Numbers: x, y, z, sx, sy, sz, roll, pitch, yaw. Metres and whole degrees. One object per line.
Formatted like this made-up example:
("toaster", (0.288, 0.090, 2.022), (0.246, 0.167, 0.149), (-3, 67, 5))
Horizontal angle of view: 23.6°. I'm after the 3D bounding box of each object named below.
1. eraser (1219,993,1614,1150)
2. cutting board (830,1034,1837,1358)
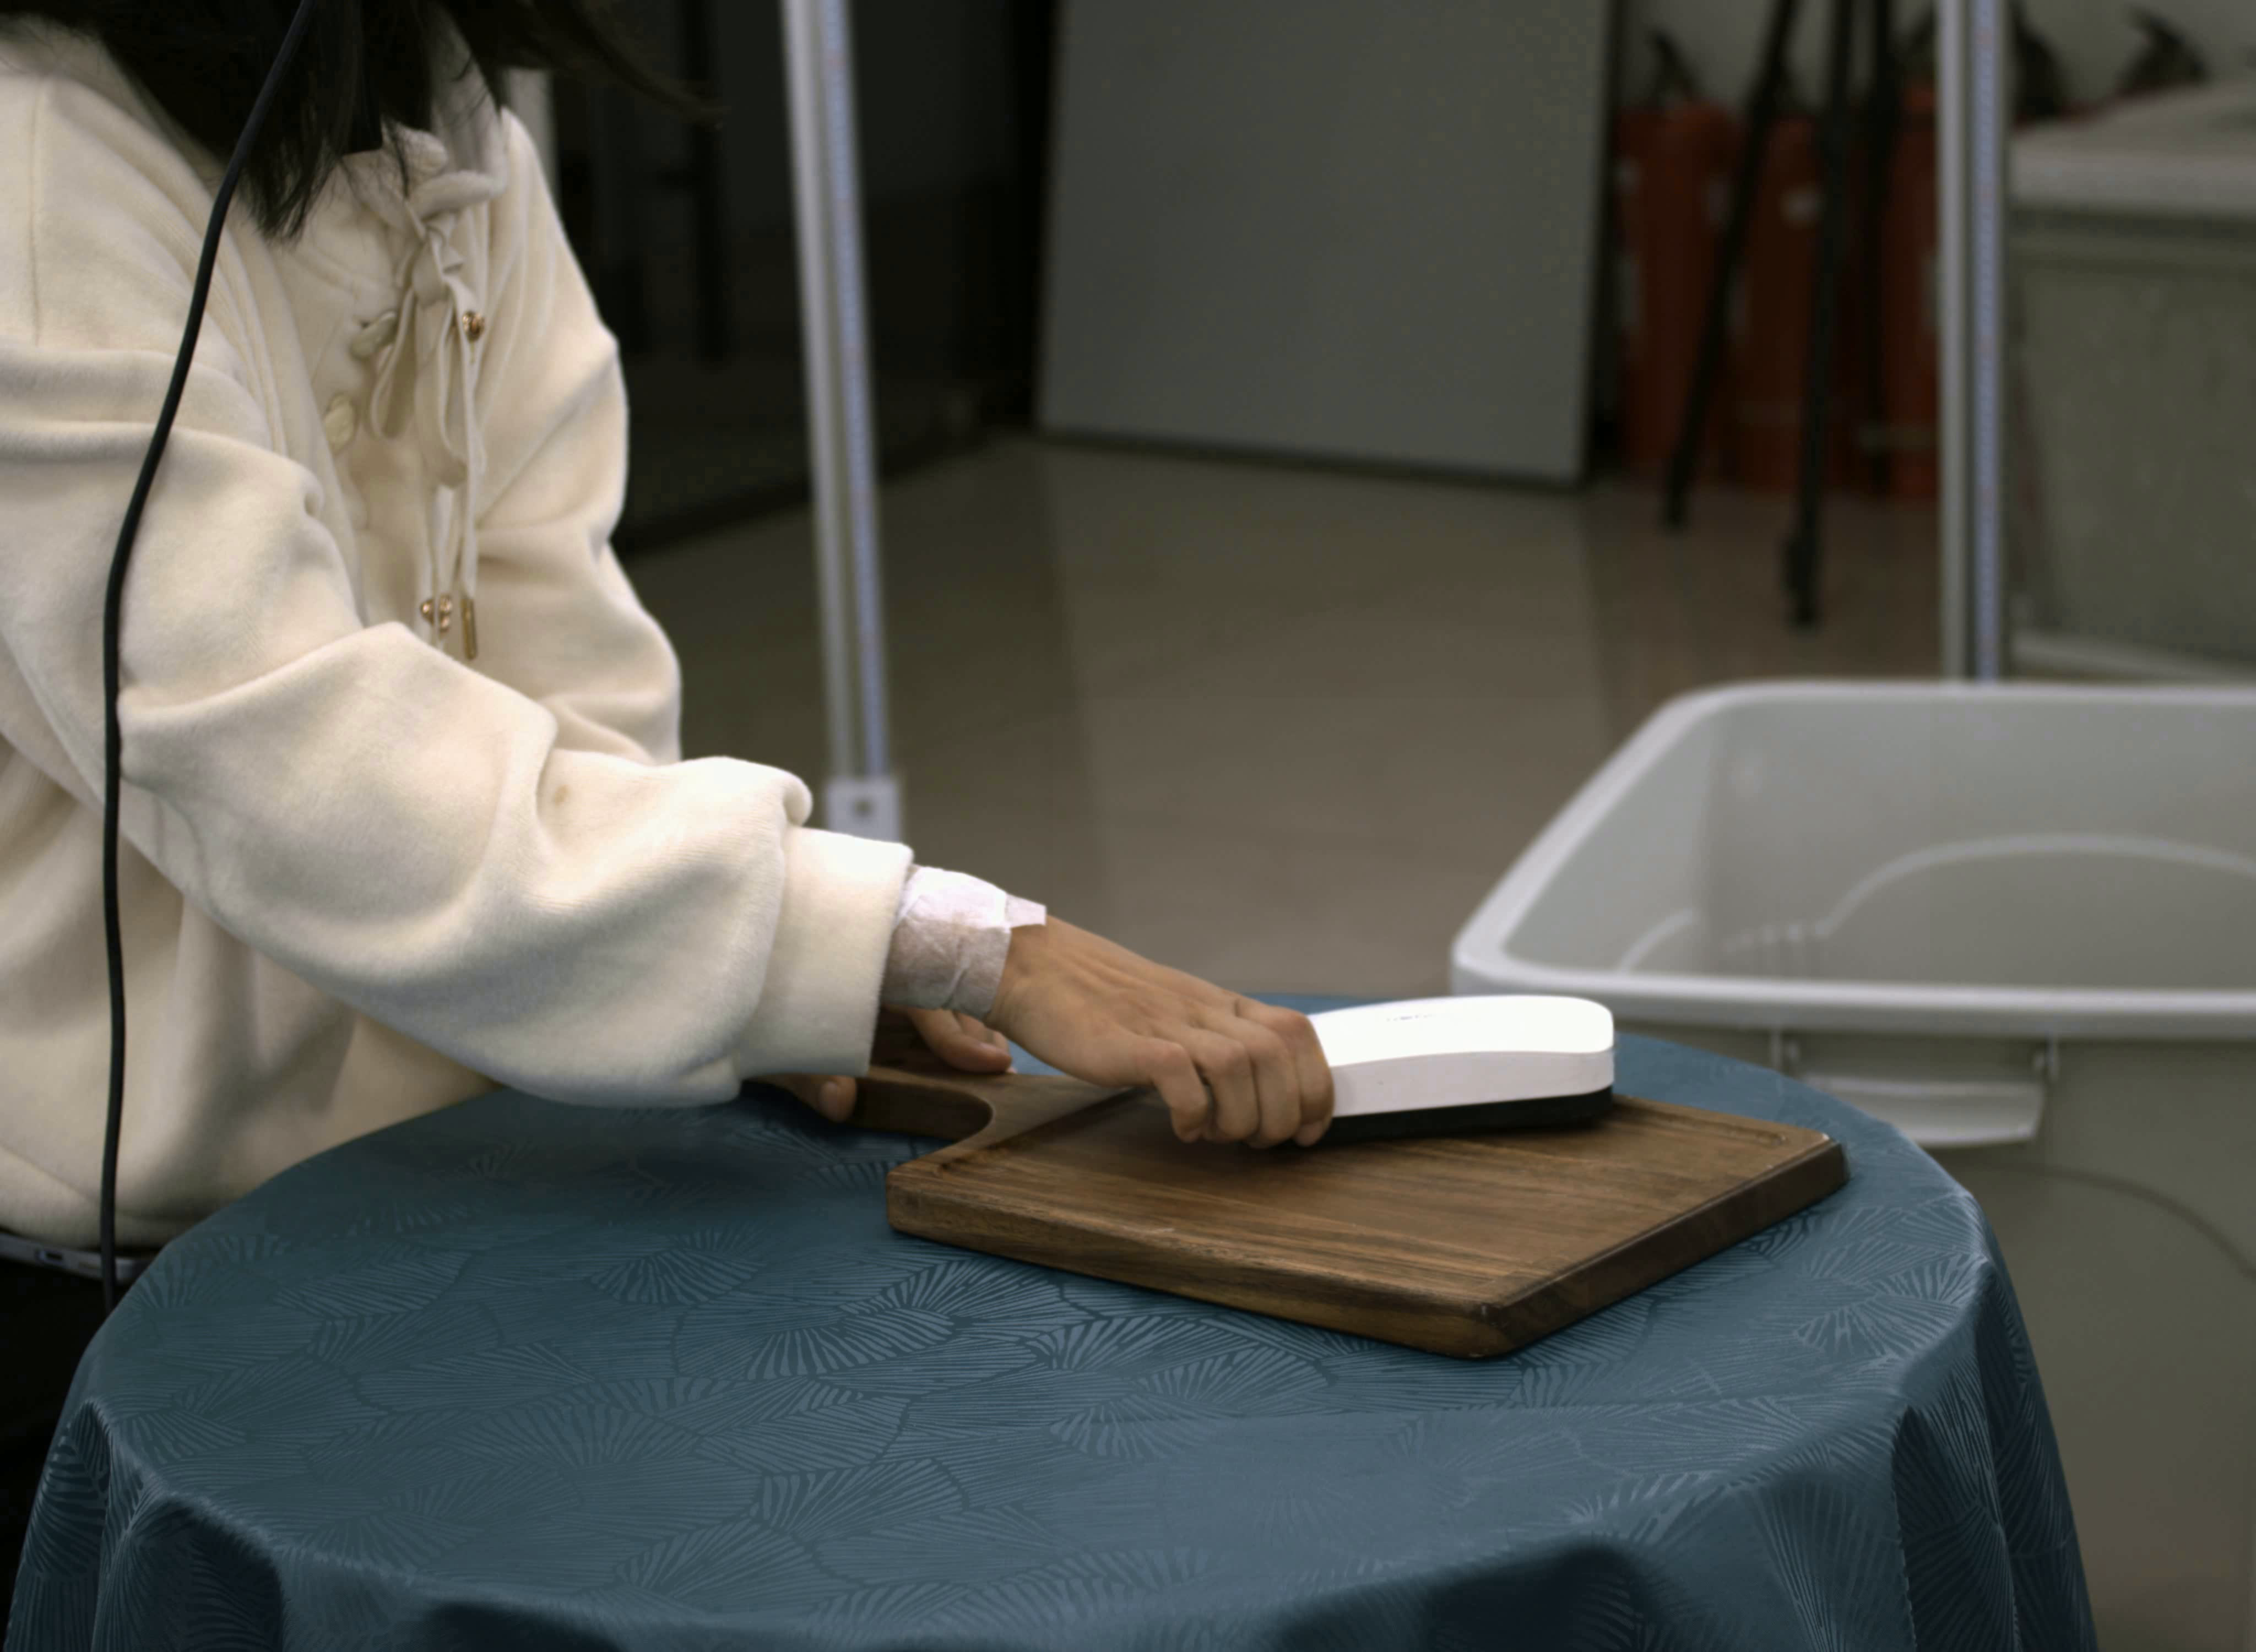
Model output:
("eraser", (0.095, 0.079, 1.773), (0.130, 0.035, 0.063), (-5, 14, 6))
("cutting board", (0.037, 0.109, 1.763), (0.355, 0.023, 0.197), (8, 18, 40))
